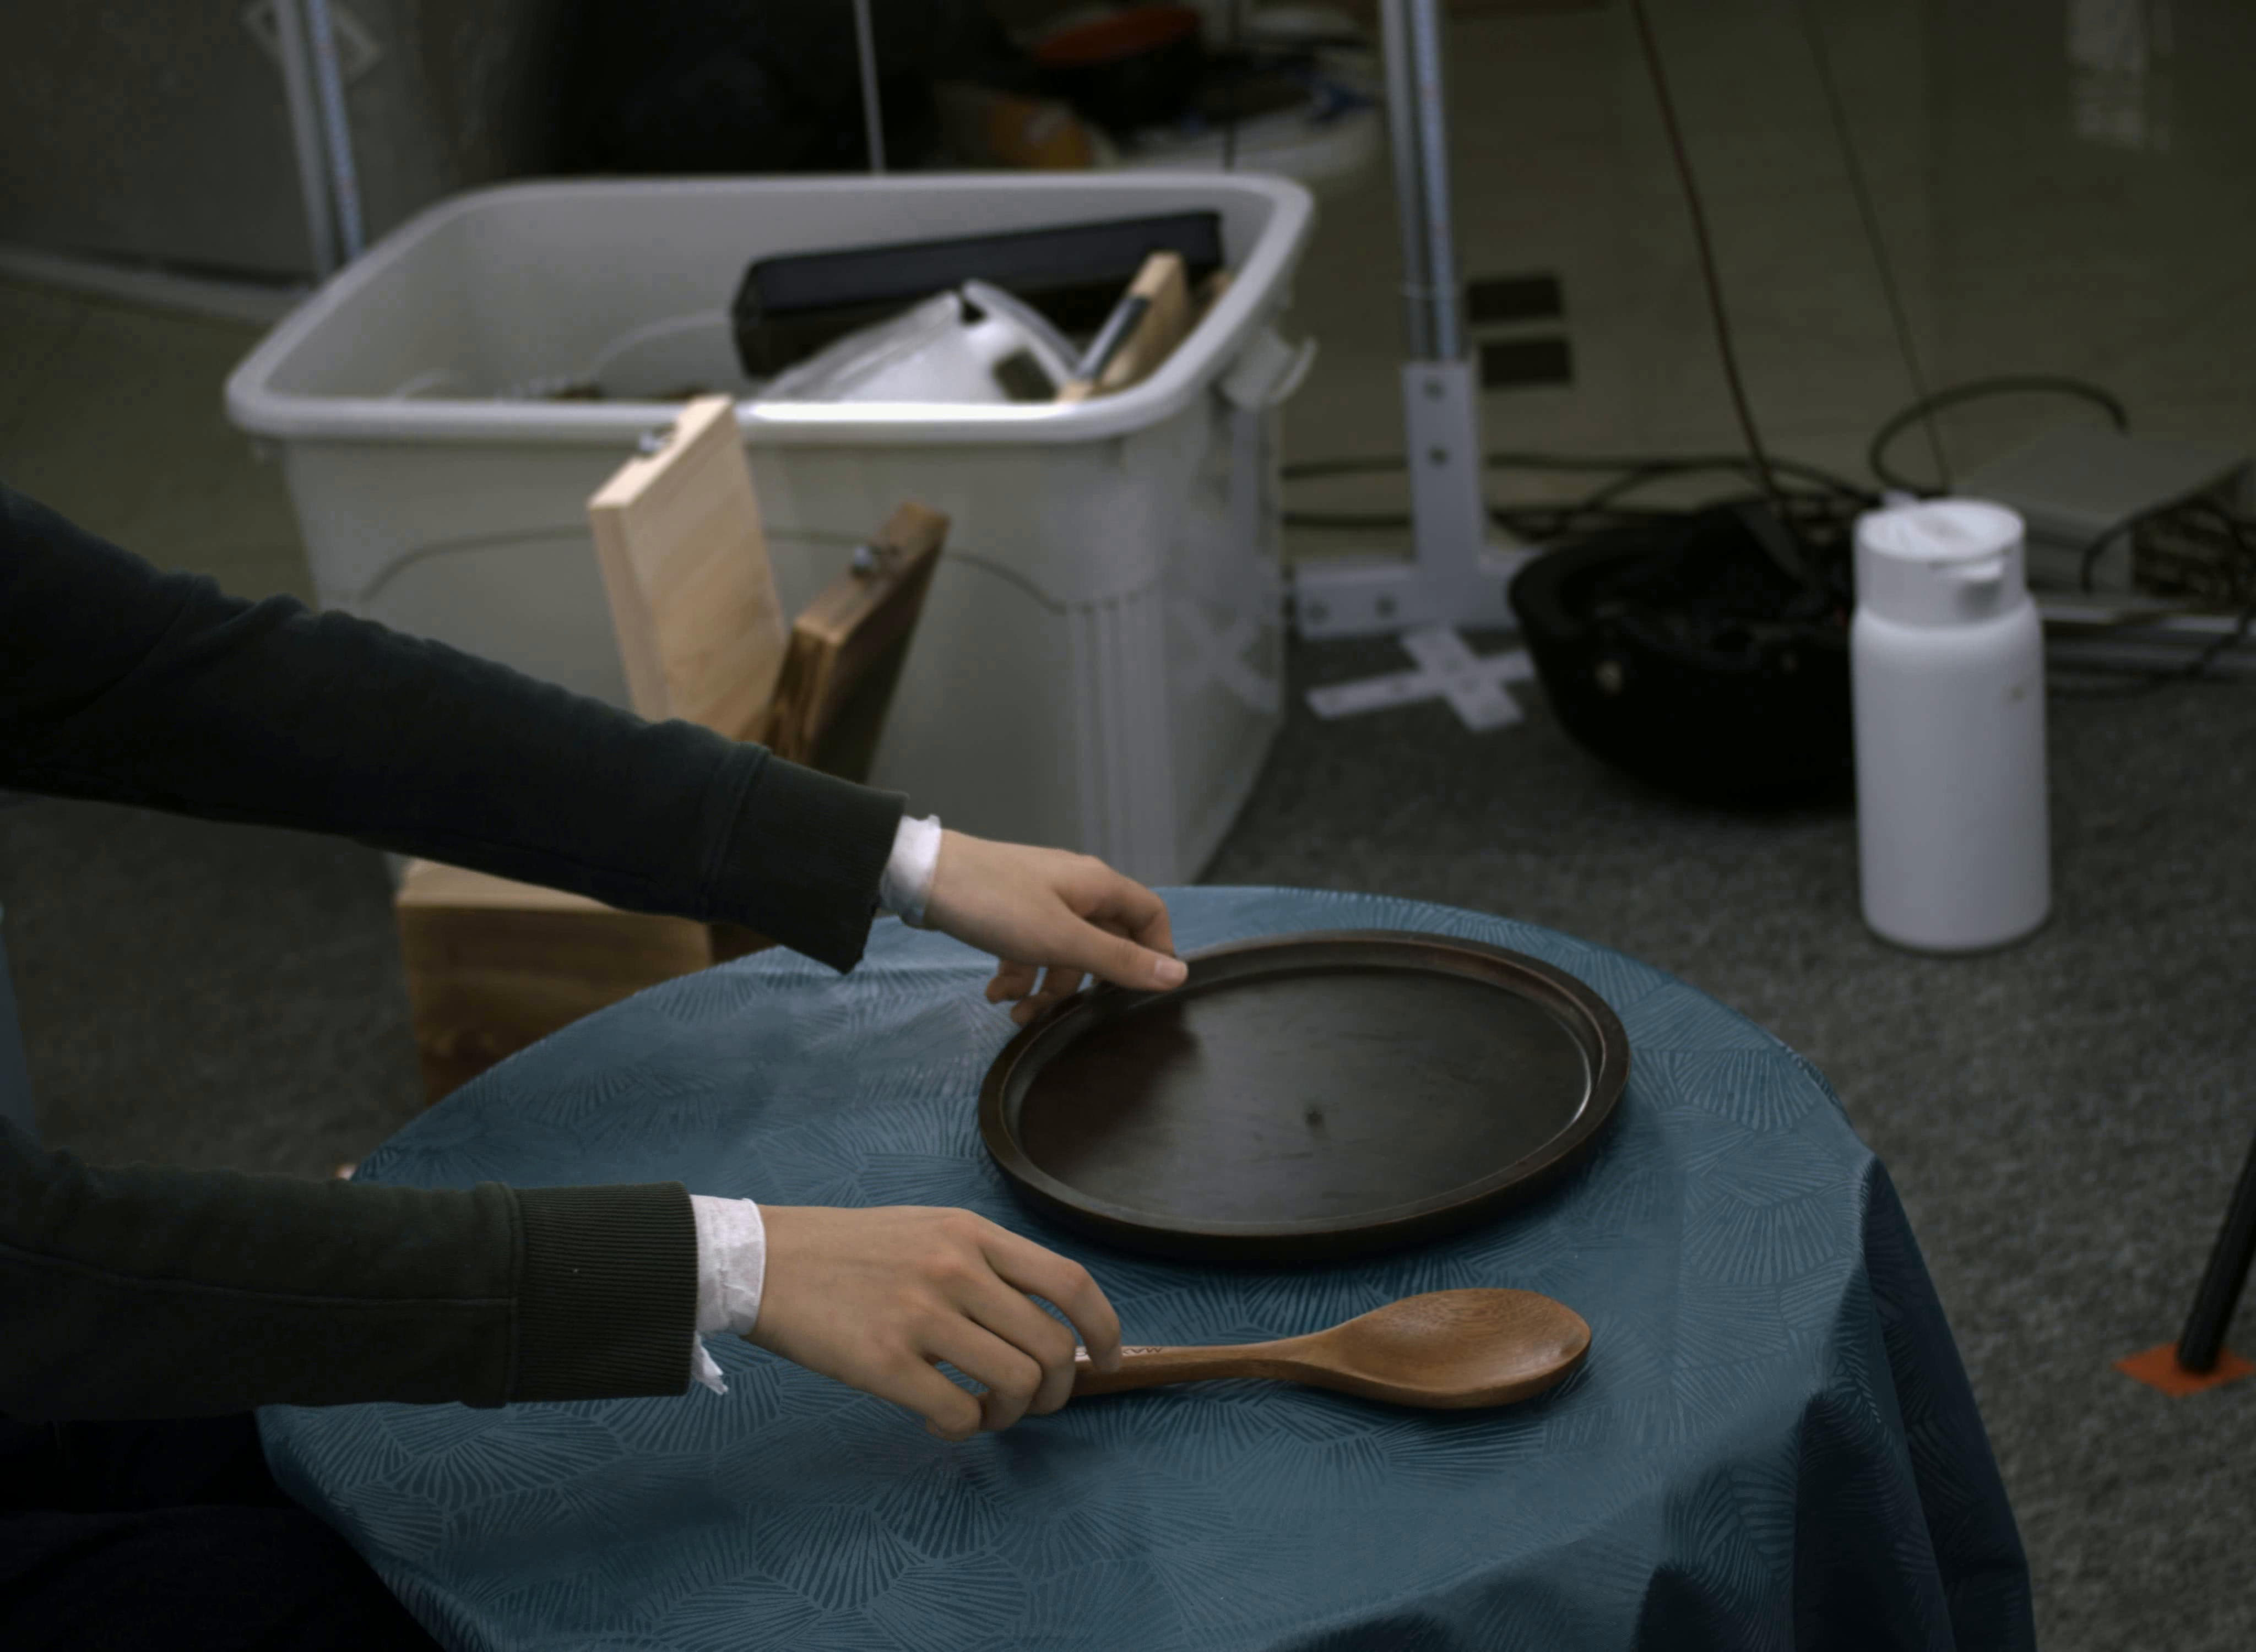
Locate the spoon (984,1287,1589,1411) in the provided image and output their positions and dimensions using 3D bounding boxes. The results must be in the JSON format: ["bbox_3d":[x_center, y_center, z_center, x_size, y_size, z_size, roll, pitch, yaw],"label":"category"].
[{"bbox_3d":[0.056,0.190,2.009,0.215,0.017,0.074,-3,25,7],"label":"spoon"}]

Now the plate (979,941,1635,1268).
[{"bbox_3d":[0.068,0.105,2.183,0.254,0.029,0.251,-4,24,2],"label":"plate"}]
